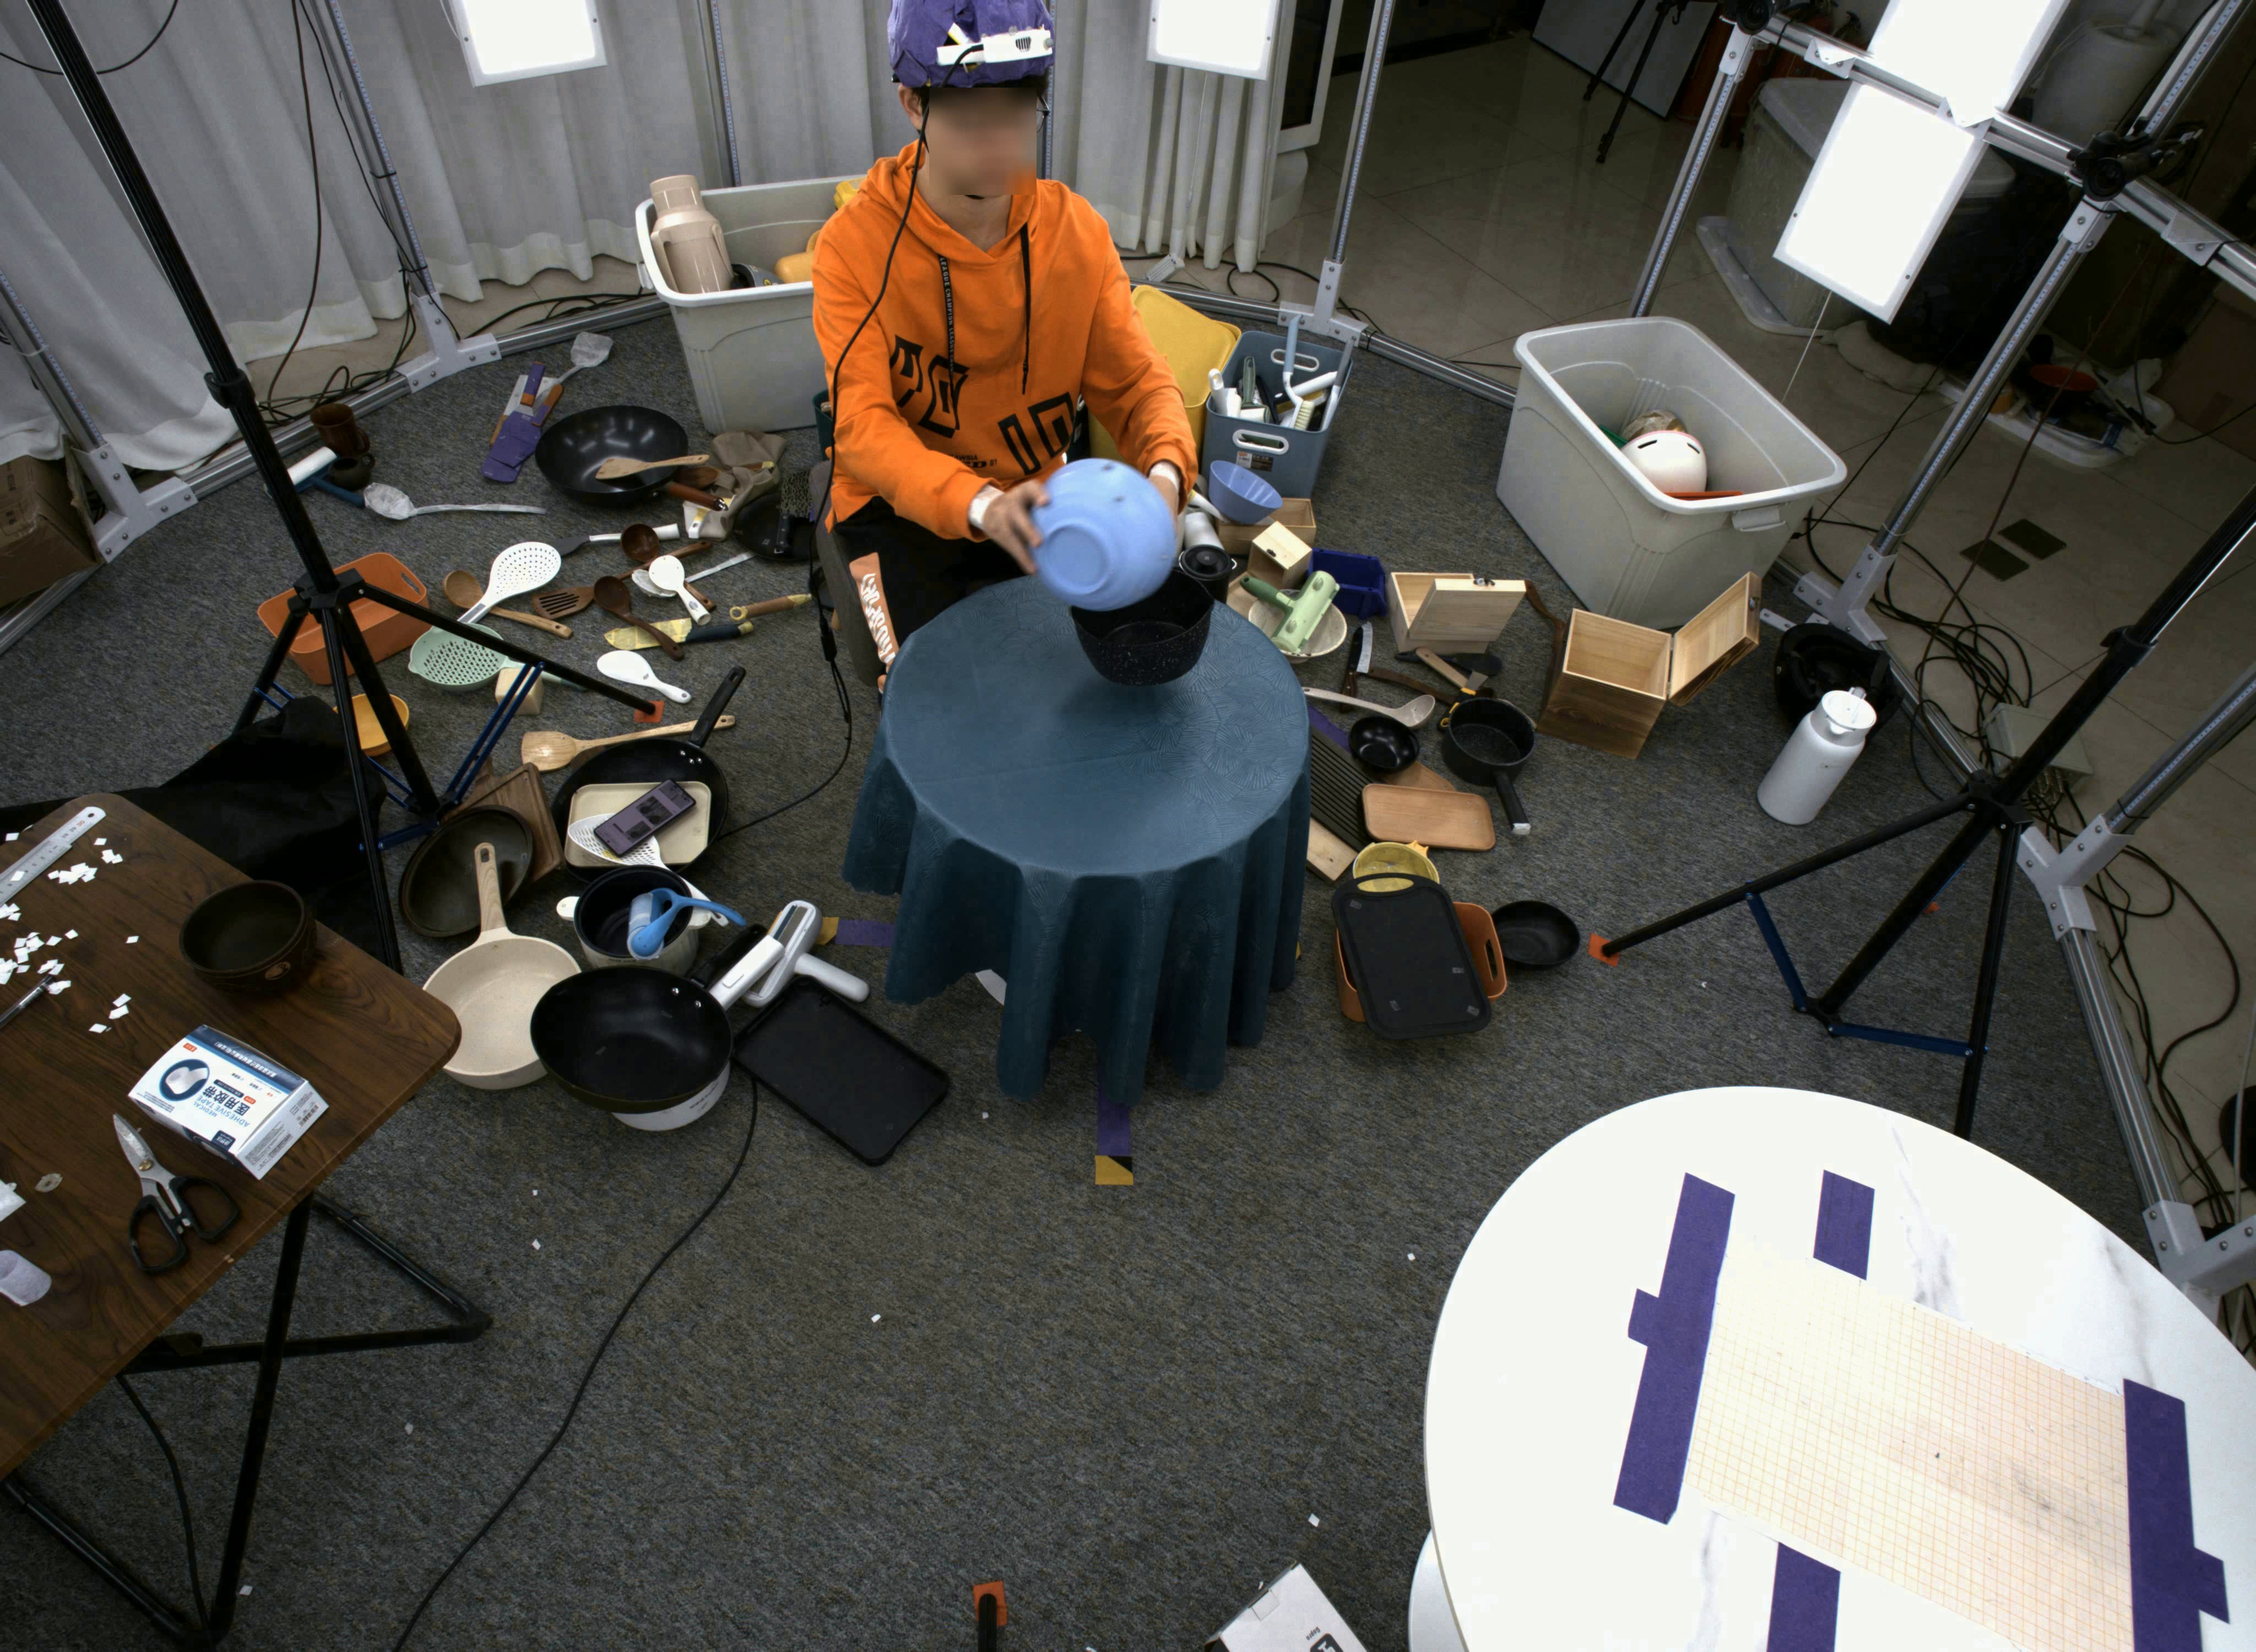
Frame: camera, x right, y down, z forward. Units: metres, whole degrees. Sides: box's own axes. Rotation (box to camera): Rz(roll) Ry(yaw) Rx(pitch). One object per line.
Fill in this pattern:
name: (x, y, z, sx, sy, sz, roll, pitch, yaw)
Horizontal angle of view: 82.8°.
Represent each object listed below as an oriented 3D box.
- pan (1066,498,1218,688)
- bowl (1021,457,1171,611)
pan: (0.022, -0.333, 1.816, 0.207, 0.105, 0.351, -4, 44, 5)
bowl: (-0.055, -0.346, 1.596, 0.197, 0.192, 0.097, 21, 41, 13)
